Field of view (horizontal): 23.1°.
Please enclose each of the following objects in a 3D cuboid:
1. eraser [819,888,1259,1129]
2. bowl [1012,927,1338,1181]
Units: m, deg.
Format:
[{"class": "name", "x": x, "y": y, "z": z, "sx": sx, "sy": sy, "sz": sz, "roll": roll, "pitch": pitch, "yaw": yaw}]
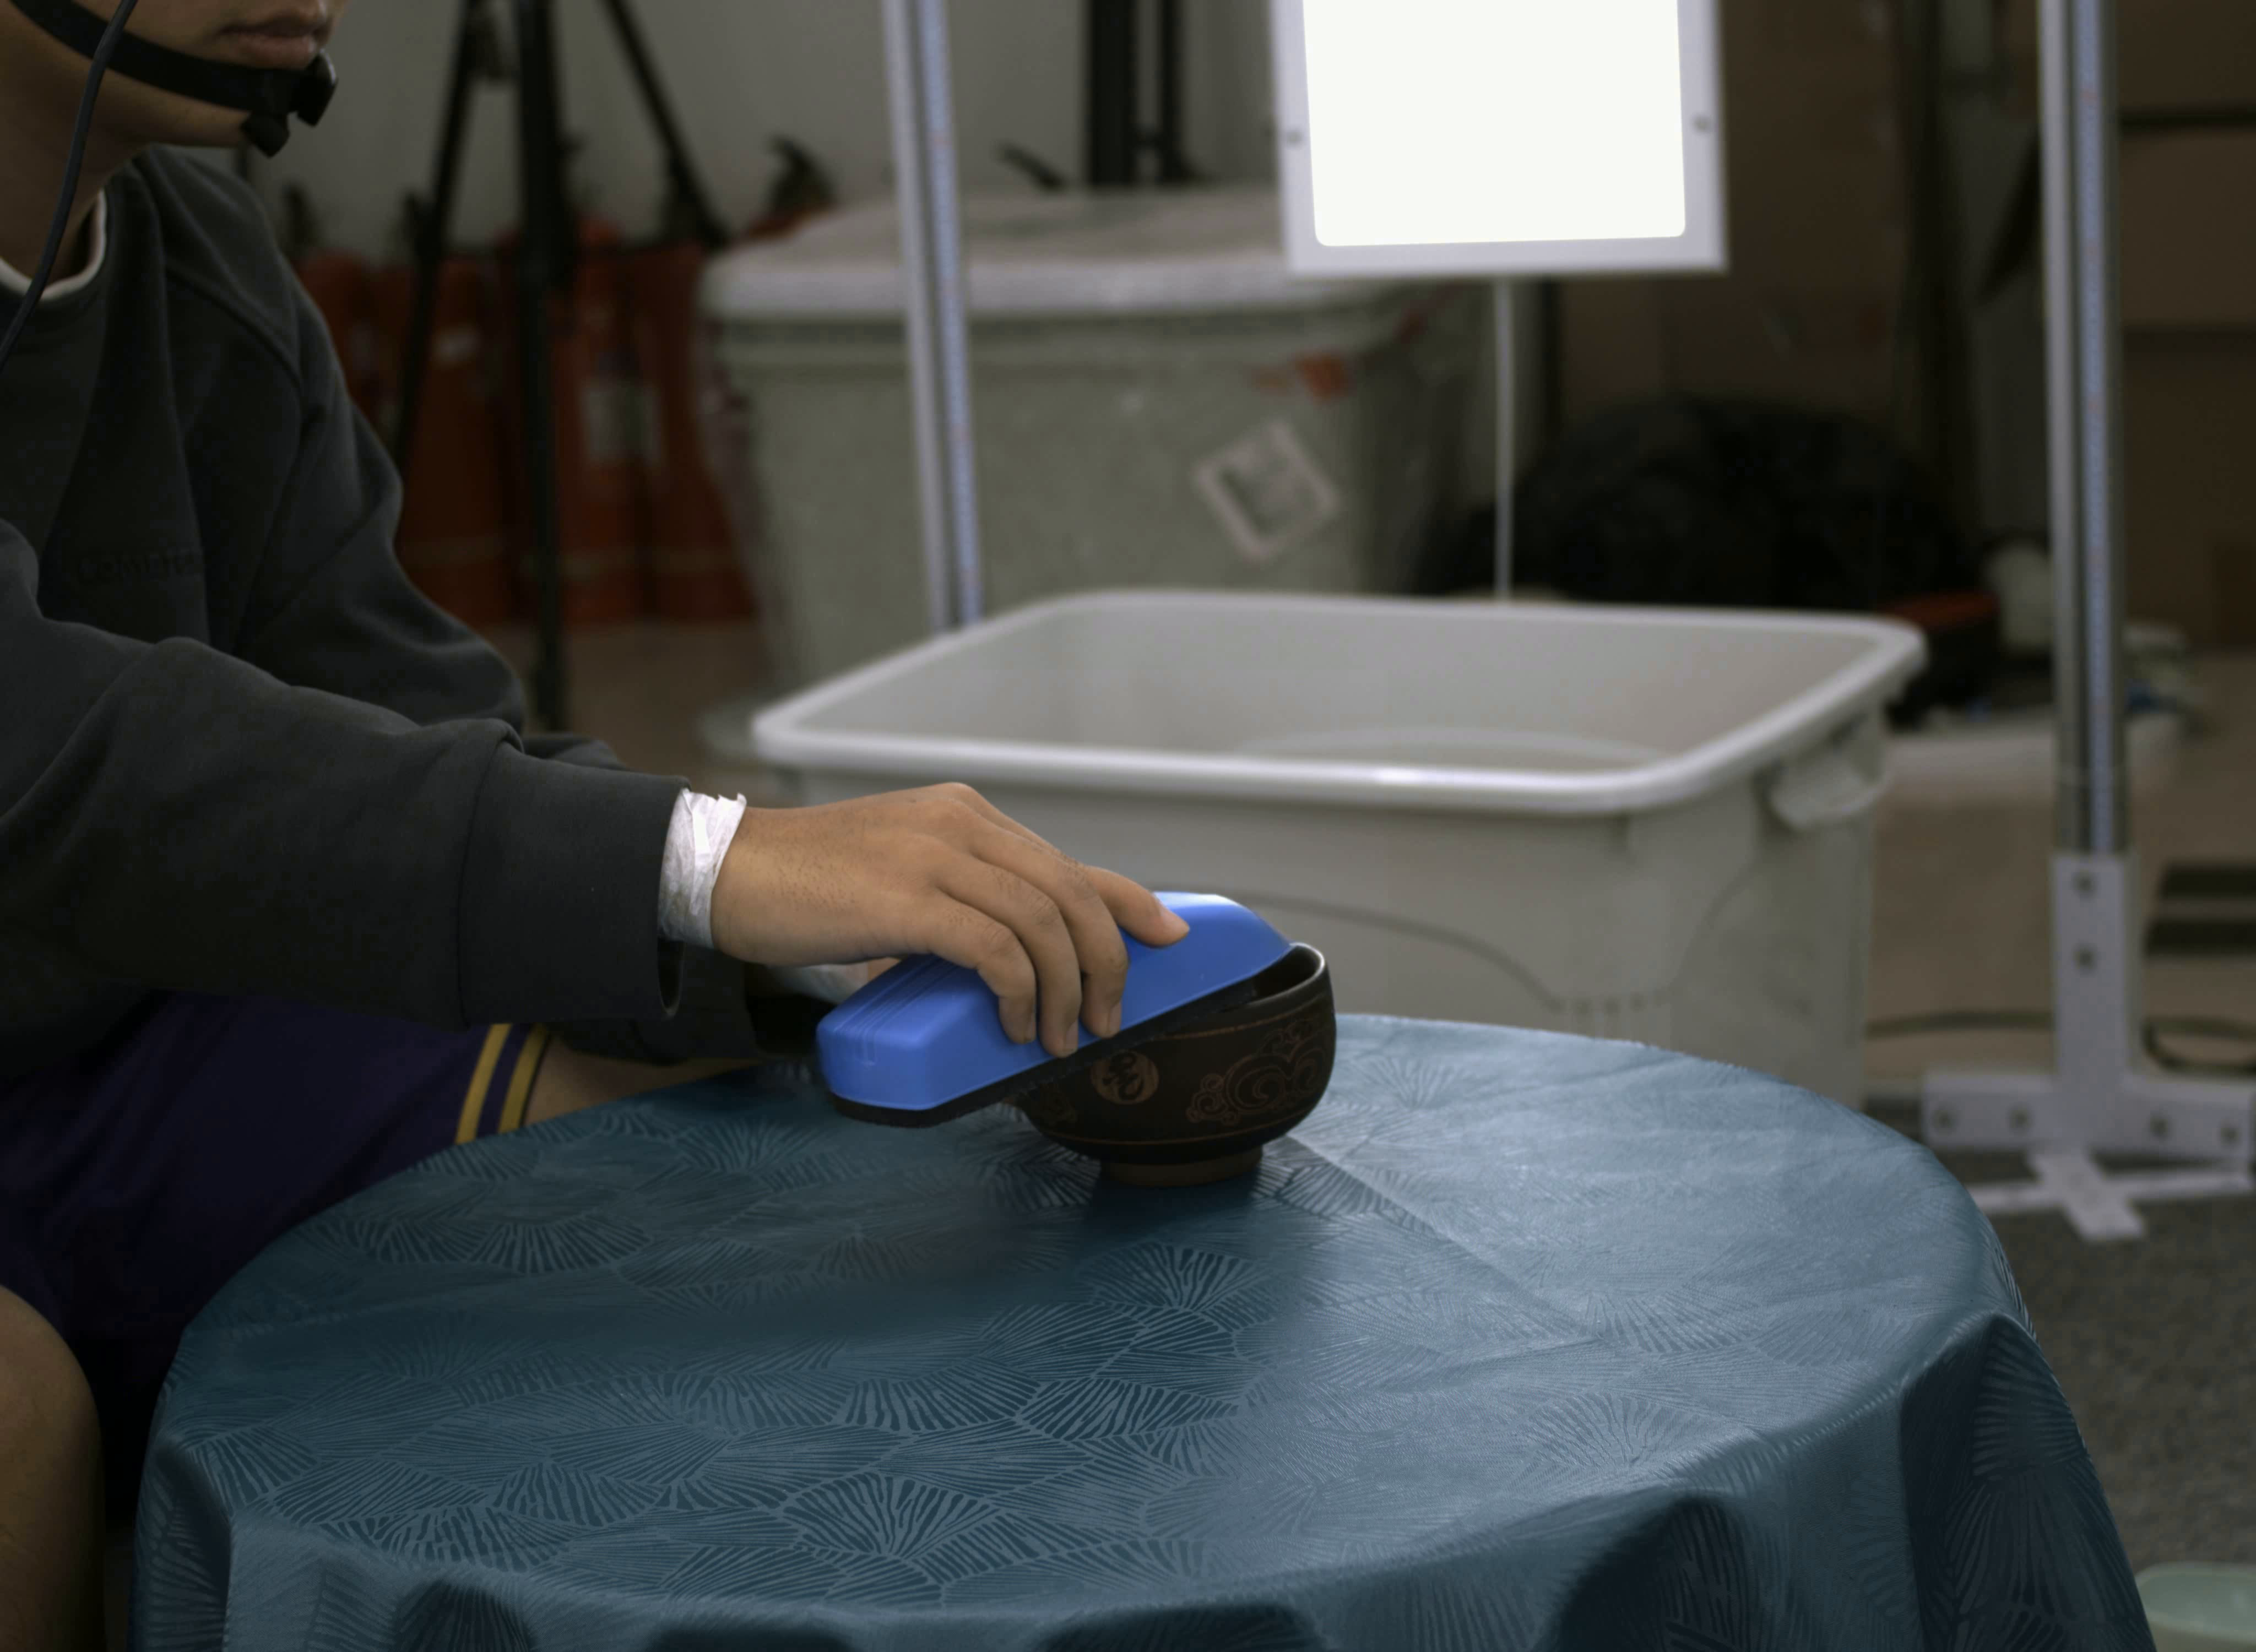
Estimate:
[{"class": "eraser", "x": -0.029, "y": 0.054, "z": 1.825, "sx": 0.158, "sy": 0.048, "sz": 0.055, "roll": -21, "pitch": 22, "yaw": -38}, {"class": "bowl", "x": 0.016, "y": 0.082, "z": 1.914, "sx": 0.118, "sy": 0.070, "sz": 0.118, "roll": -7, "pitch": 13, "yaw": 0}]
